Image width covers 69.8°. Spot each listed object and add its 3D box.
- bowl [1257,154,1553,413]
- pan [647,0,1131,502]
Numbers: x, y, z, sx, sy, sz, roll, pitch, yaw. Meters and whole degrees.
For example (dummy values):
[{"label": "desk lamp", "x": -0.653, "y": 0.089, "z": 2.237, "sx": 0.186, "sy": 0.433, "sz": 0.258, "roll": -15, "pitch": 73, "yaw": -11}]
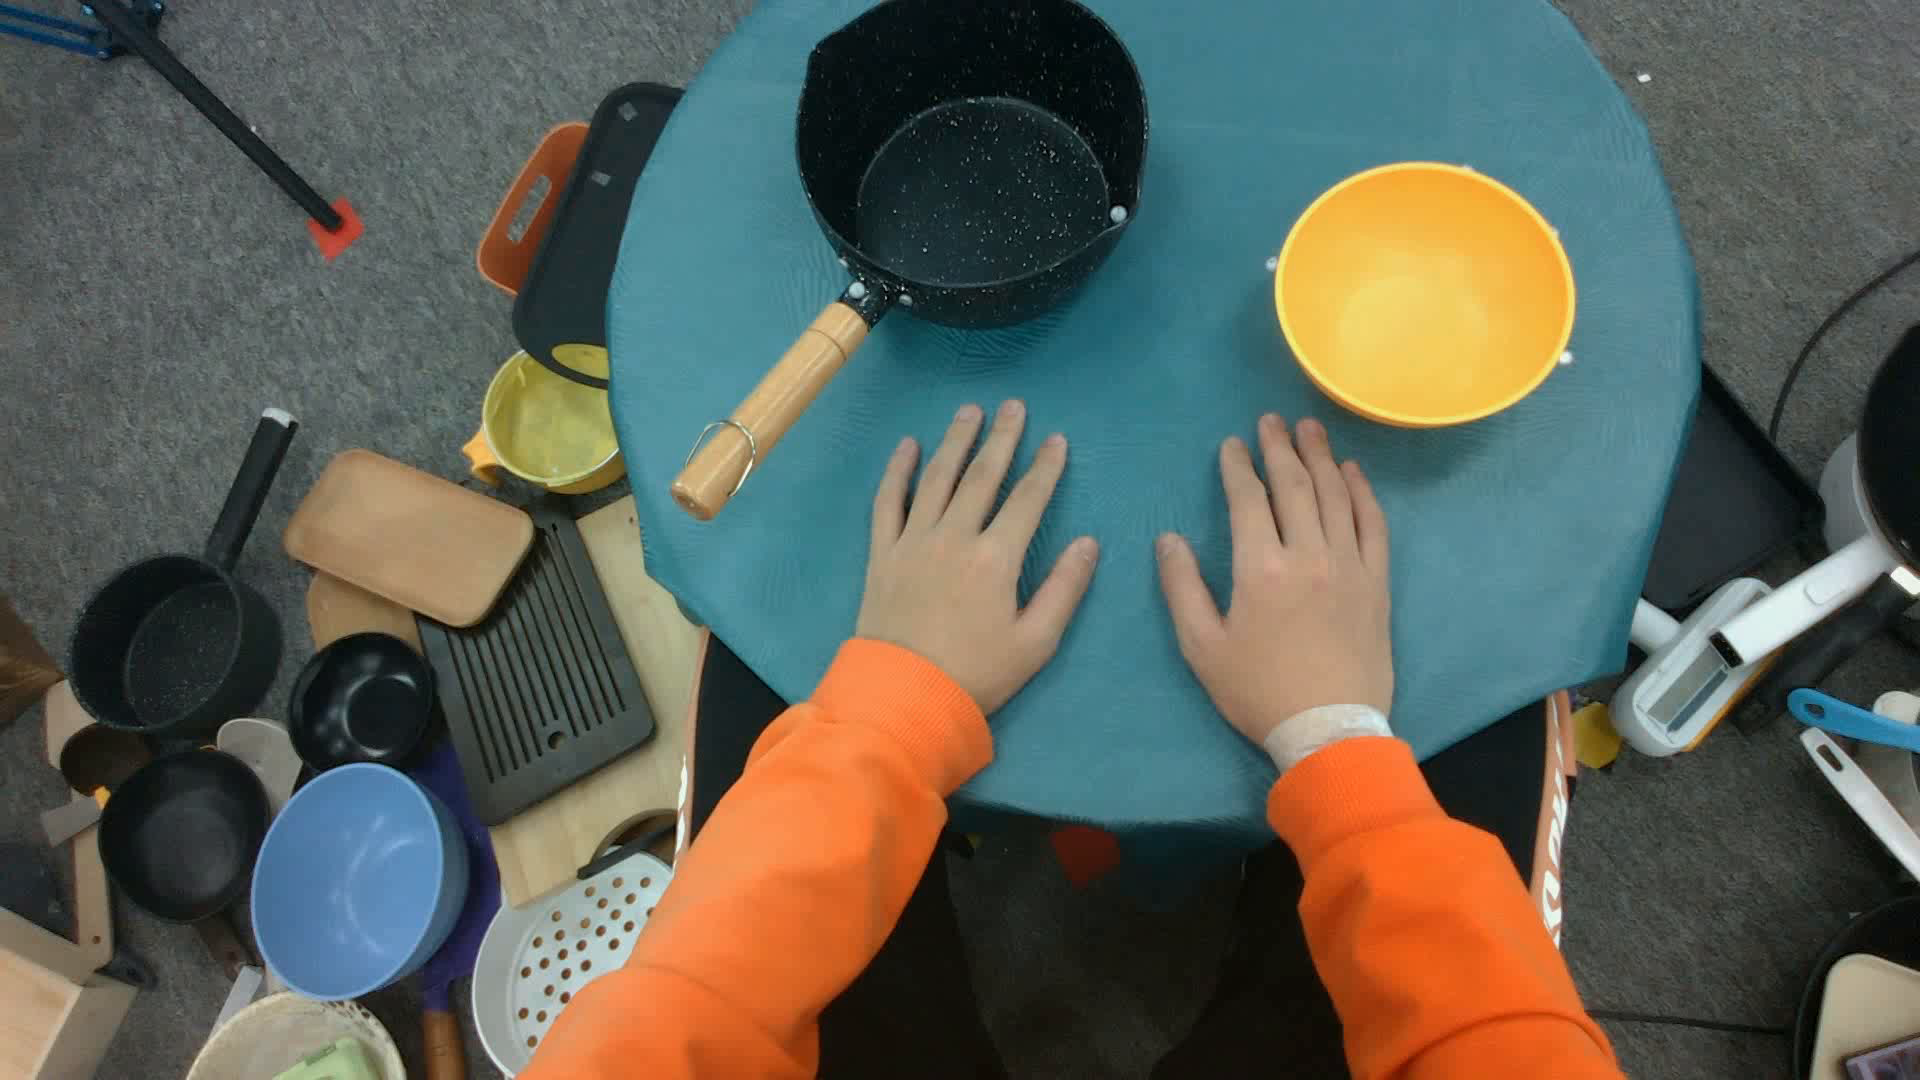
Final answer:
[{"label": "bowl", "x": 0.226, "y": -0.124, "z": 0.721, "sx": 0.145, "sy": 0.060, "sz": 0.145, "roll": -2, "pitch": 72, "yaw": 6}, {"label": "pan", "x": -0.043, "y": -0.147, "z": 0.724, "sx": 0.207, "sy": 0.108, "sz": 0.343, "roll": 29, "pitch": 76, "yaw": 11}]
